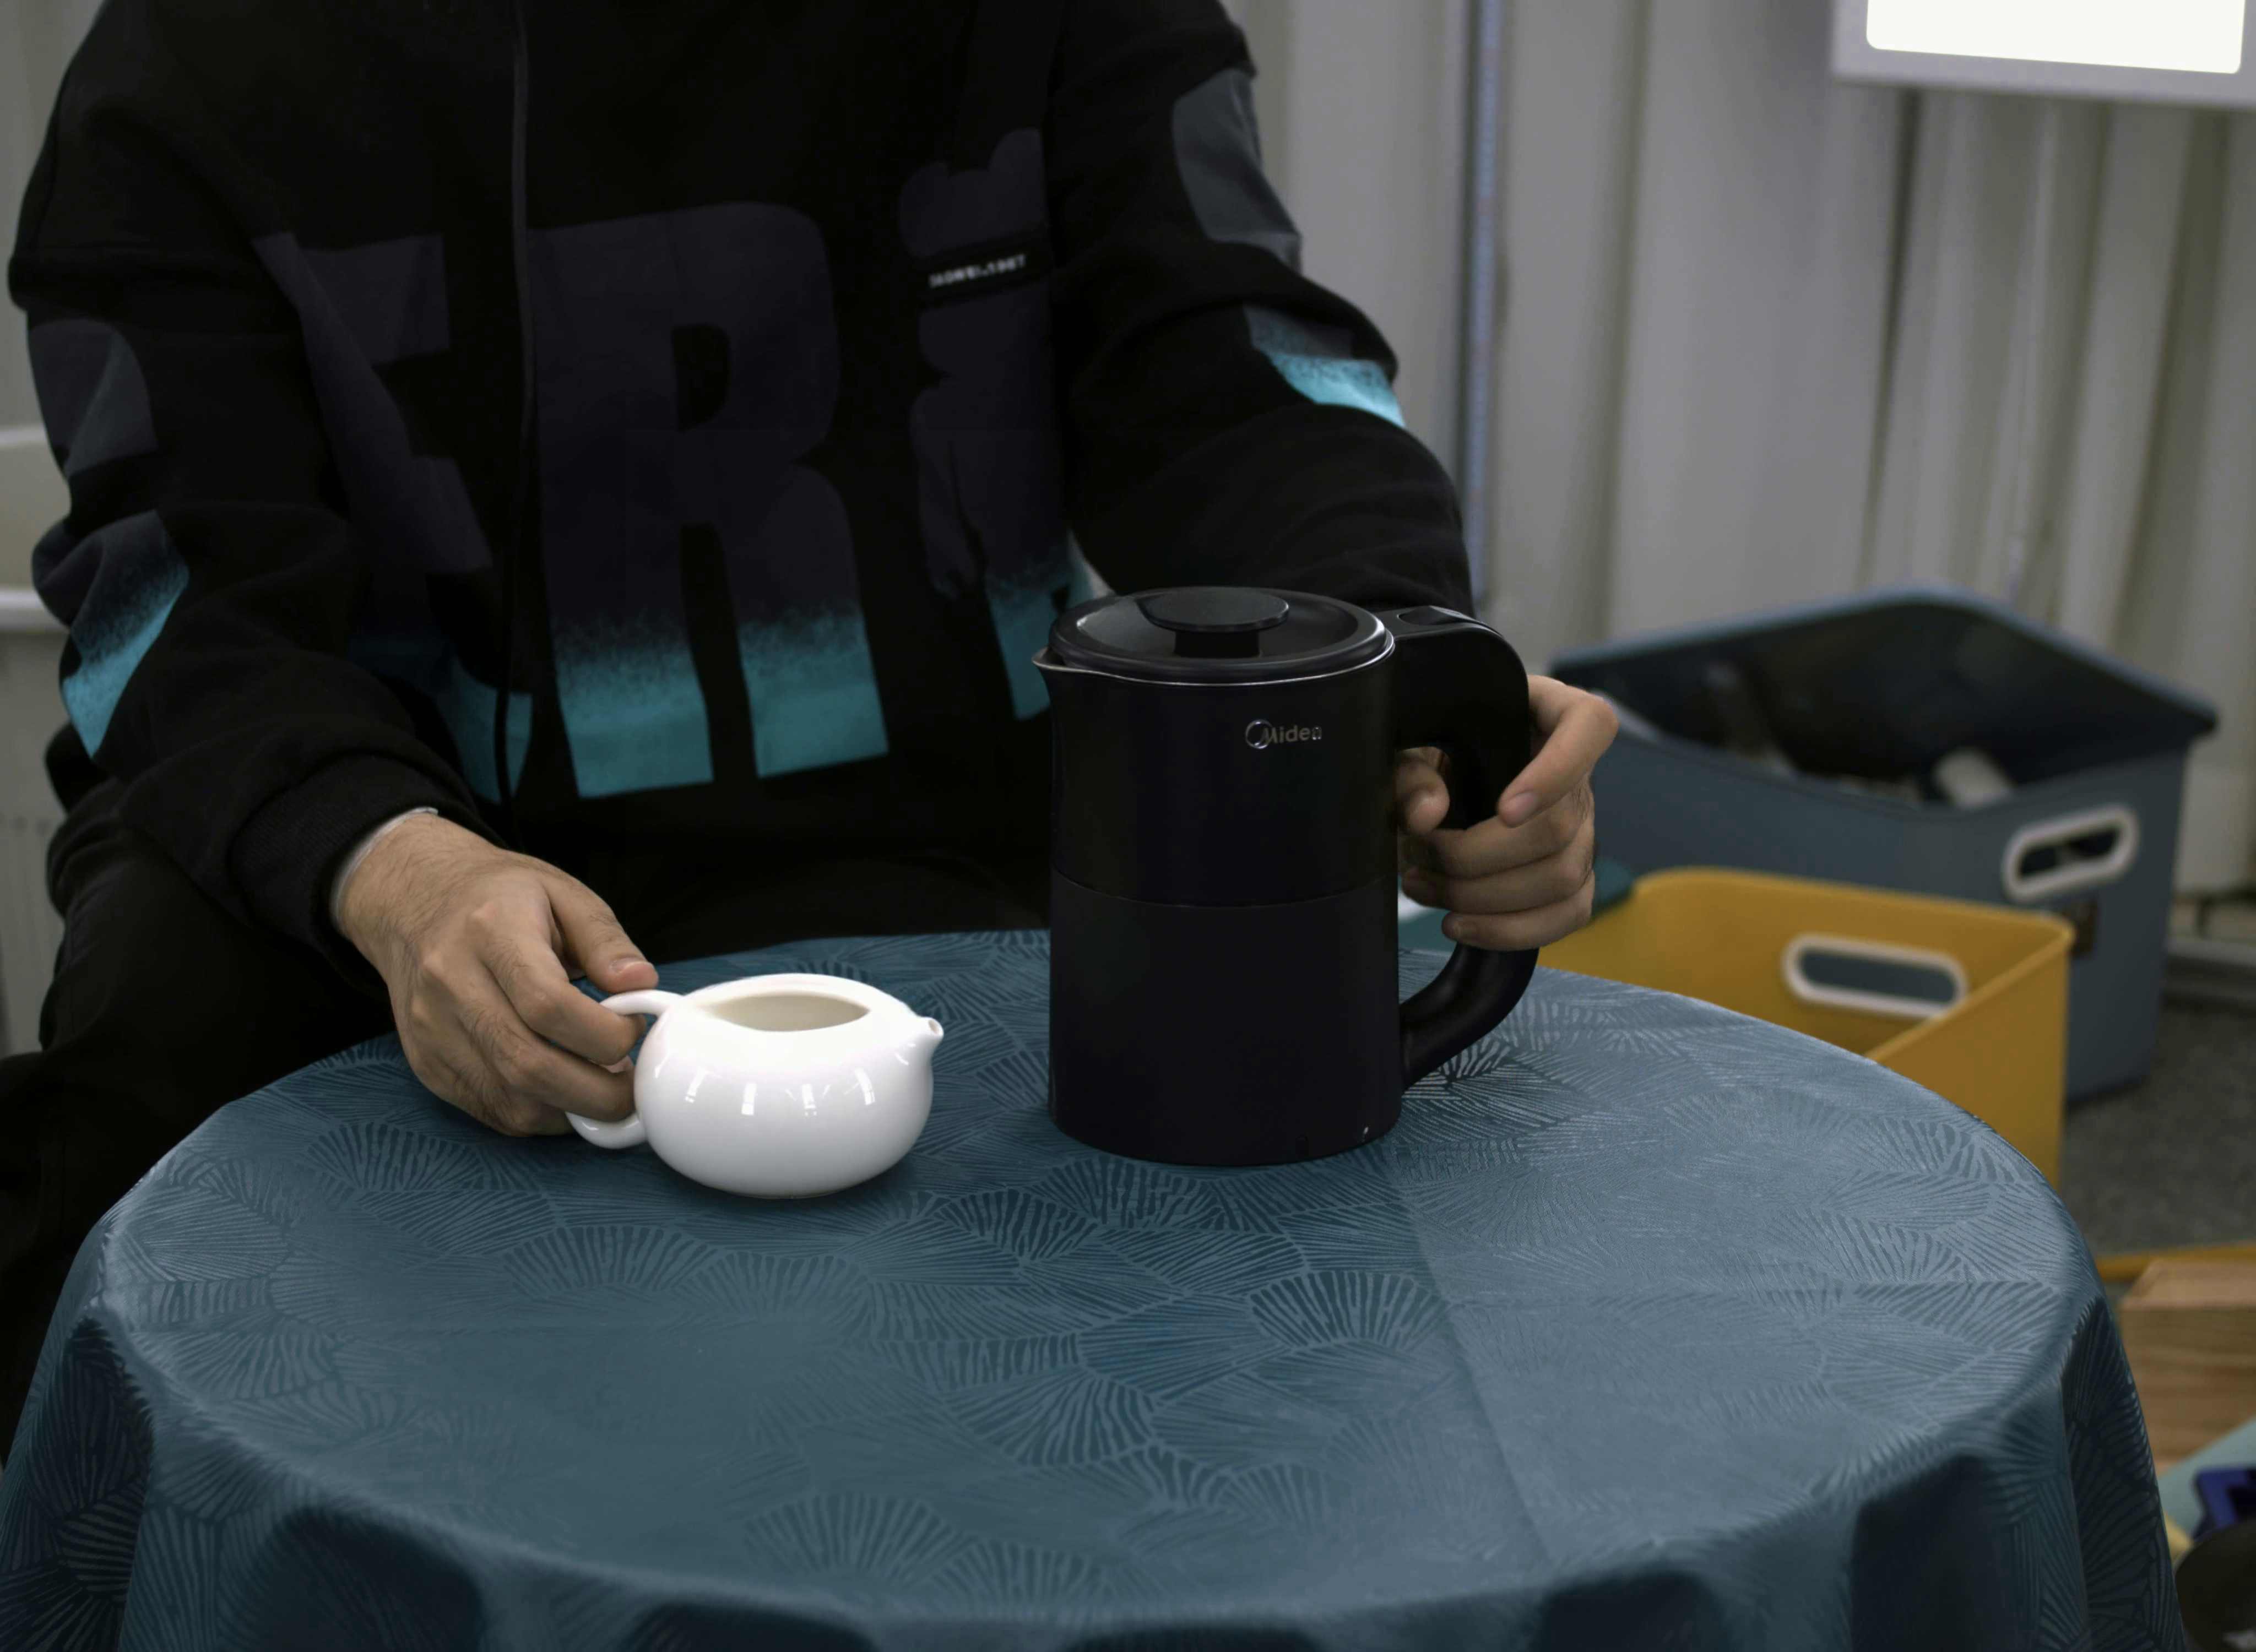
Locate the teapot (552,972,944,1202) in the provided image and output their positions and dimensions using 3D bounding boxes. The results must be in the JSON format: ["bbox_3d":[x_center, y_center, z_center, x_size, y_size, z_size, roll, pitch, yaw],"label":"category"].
[{"bbox_3d":[-0.118,0.080,1.630,0.126,0.057,0.093,2,20,9],"label":"teapot"}]

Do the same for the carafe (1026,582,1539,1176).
[{"bbox_3d":[0.050,0.007,1.679,0.172,0.175,0.113,-10,17,-24],"label":"carafe"}]
